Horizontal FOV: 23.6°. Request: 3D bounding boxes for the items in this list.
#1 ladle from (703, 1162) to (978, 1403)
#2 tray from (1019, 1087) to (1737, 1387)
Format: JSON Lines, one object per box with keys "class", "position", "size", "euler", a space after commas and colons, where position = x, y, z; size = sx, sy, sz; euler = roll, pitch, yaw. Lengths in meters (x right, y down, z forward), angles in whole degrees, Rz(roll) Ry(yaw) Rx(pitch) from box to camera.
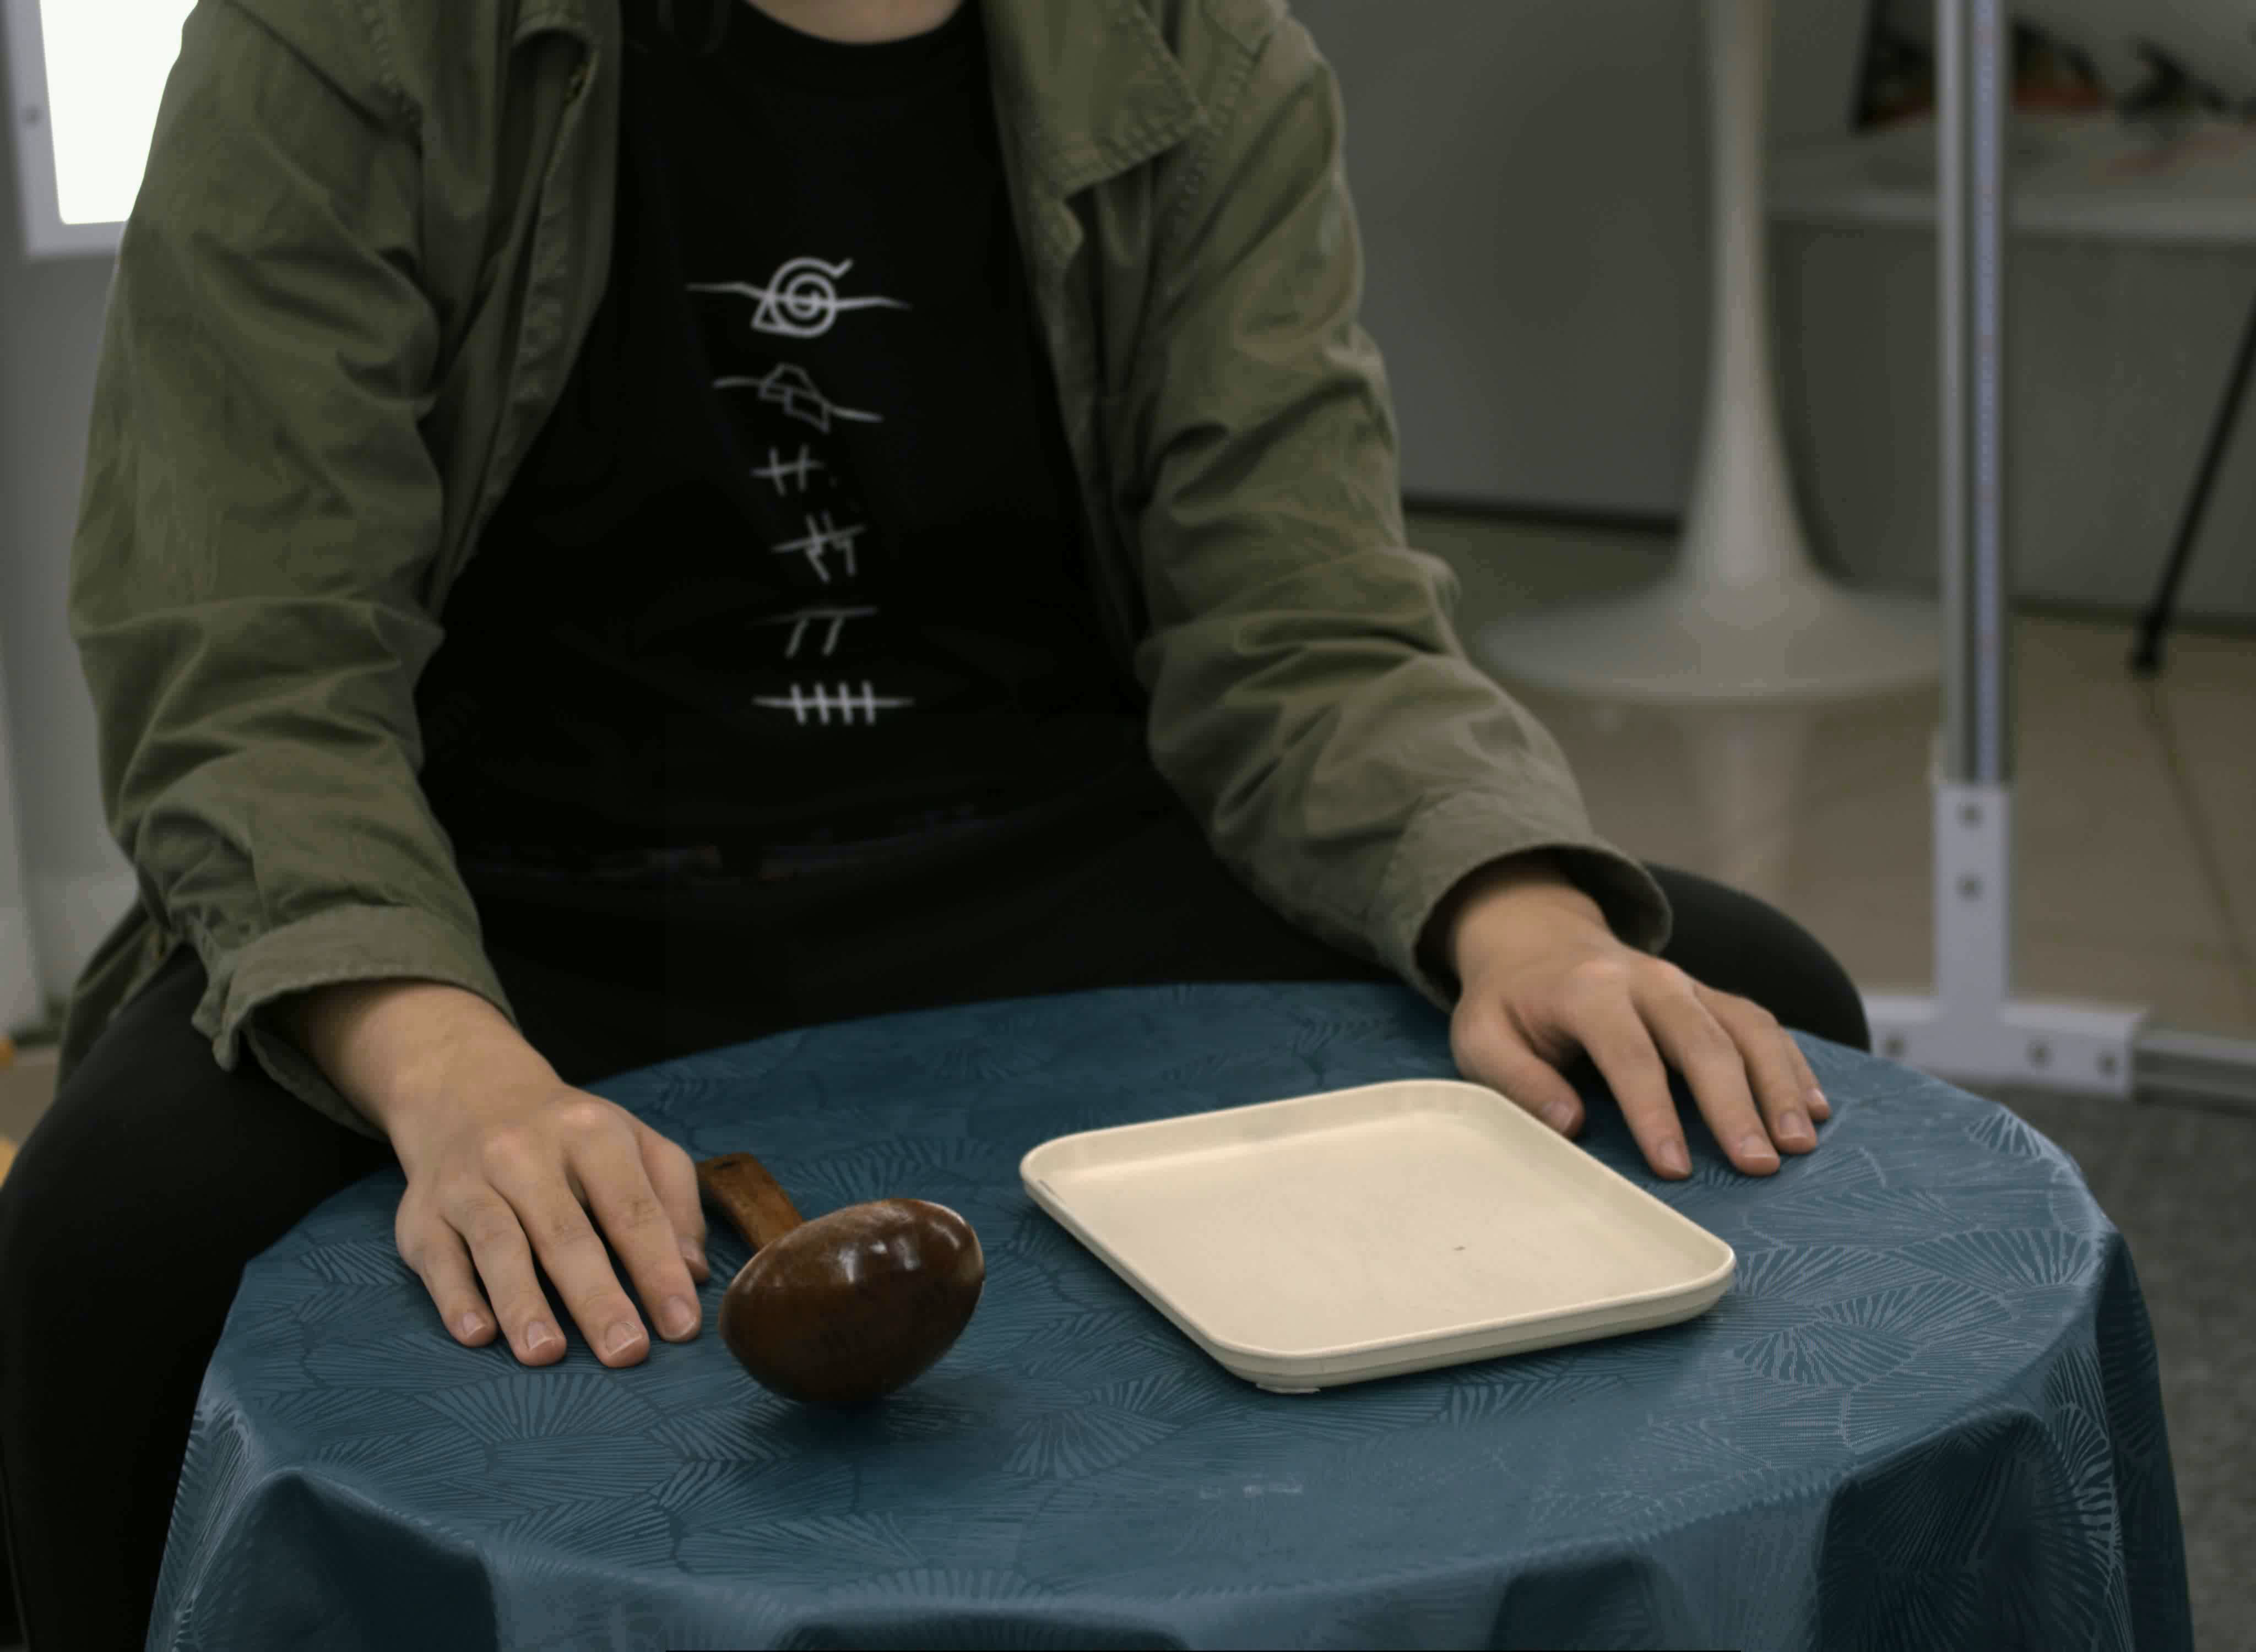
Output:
{"class": "ladle", "position": [-0.104, 0.116, 1.662], "size": [0.080, 0.077, 0.276], "euler": [-11, 14, -10]}
{"class": "tray", "position": [0.074, 0.127, 1.686], "size": [0.168, 0.017, 0.242], "euler": [-8, 14, -17]}
